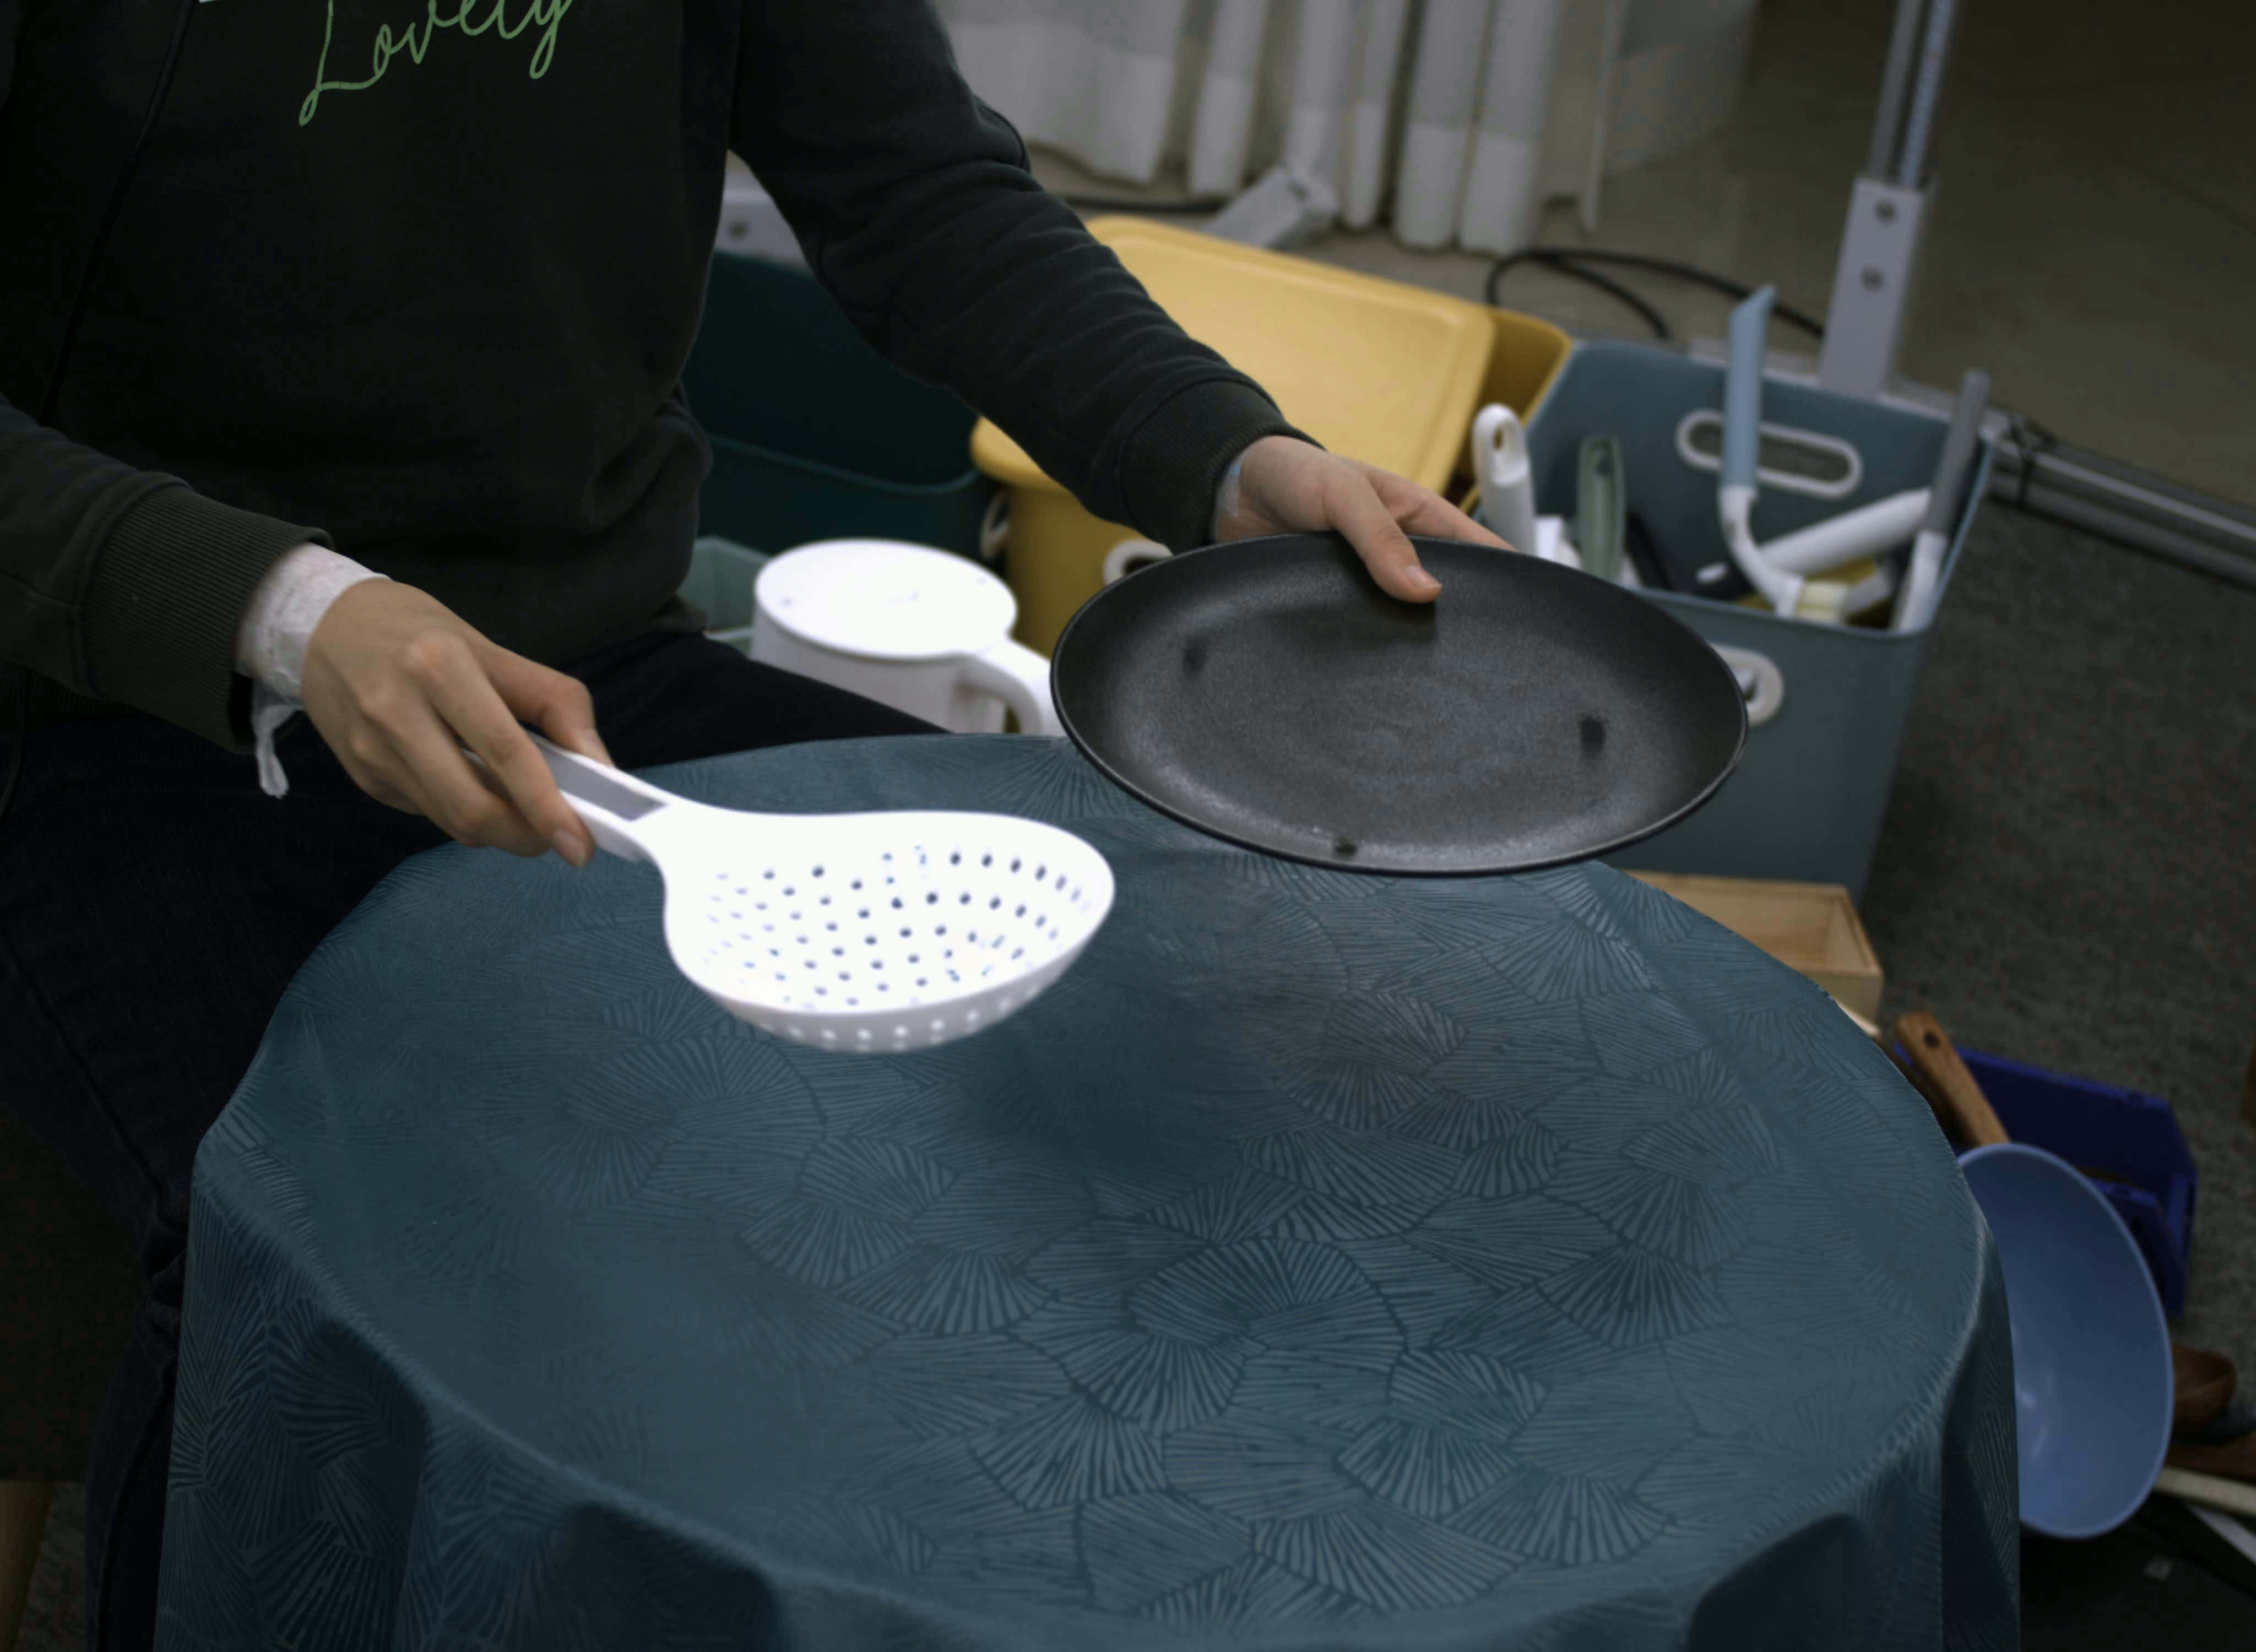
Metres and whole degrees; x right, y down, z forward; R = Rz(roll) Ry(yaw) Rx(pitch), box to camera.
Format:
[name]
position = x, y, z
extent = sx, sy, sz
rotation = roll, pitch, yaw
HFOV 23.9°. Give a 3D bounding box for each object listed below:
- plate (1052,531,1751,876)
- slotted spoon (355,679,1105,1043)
[plate]
position = 0.094, -0.039, 1.846
extent = 0.243, 0.023, 0.246
rotation = 2, 30, -1
[slotted spoon]
position = -0.143, 0.002, 1.694
extent = 0.135, 0.045, 0.352
rotation = -24, 33, -34
